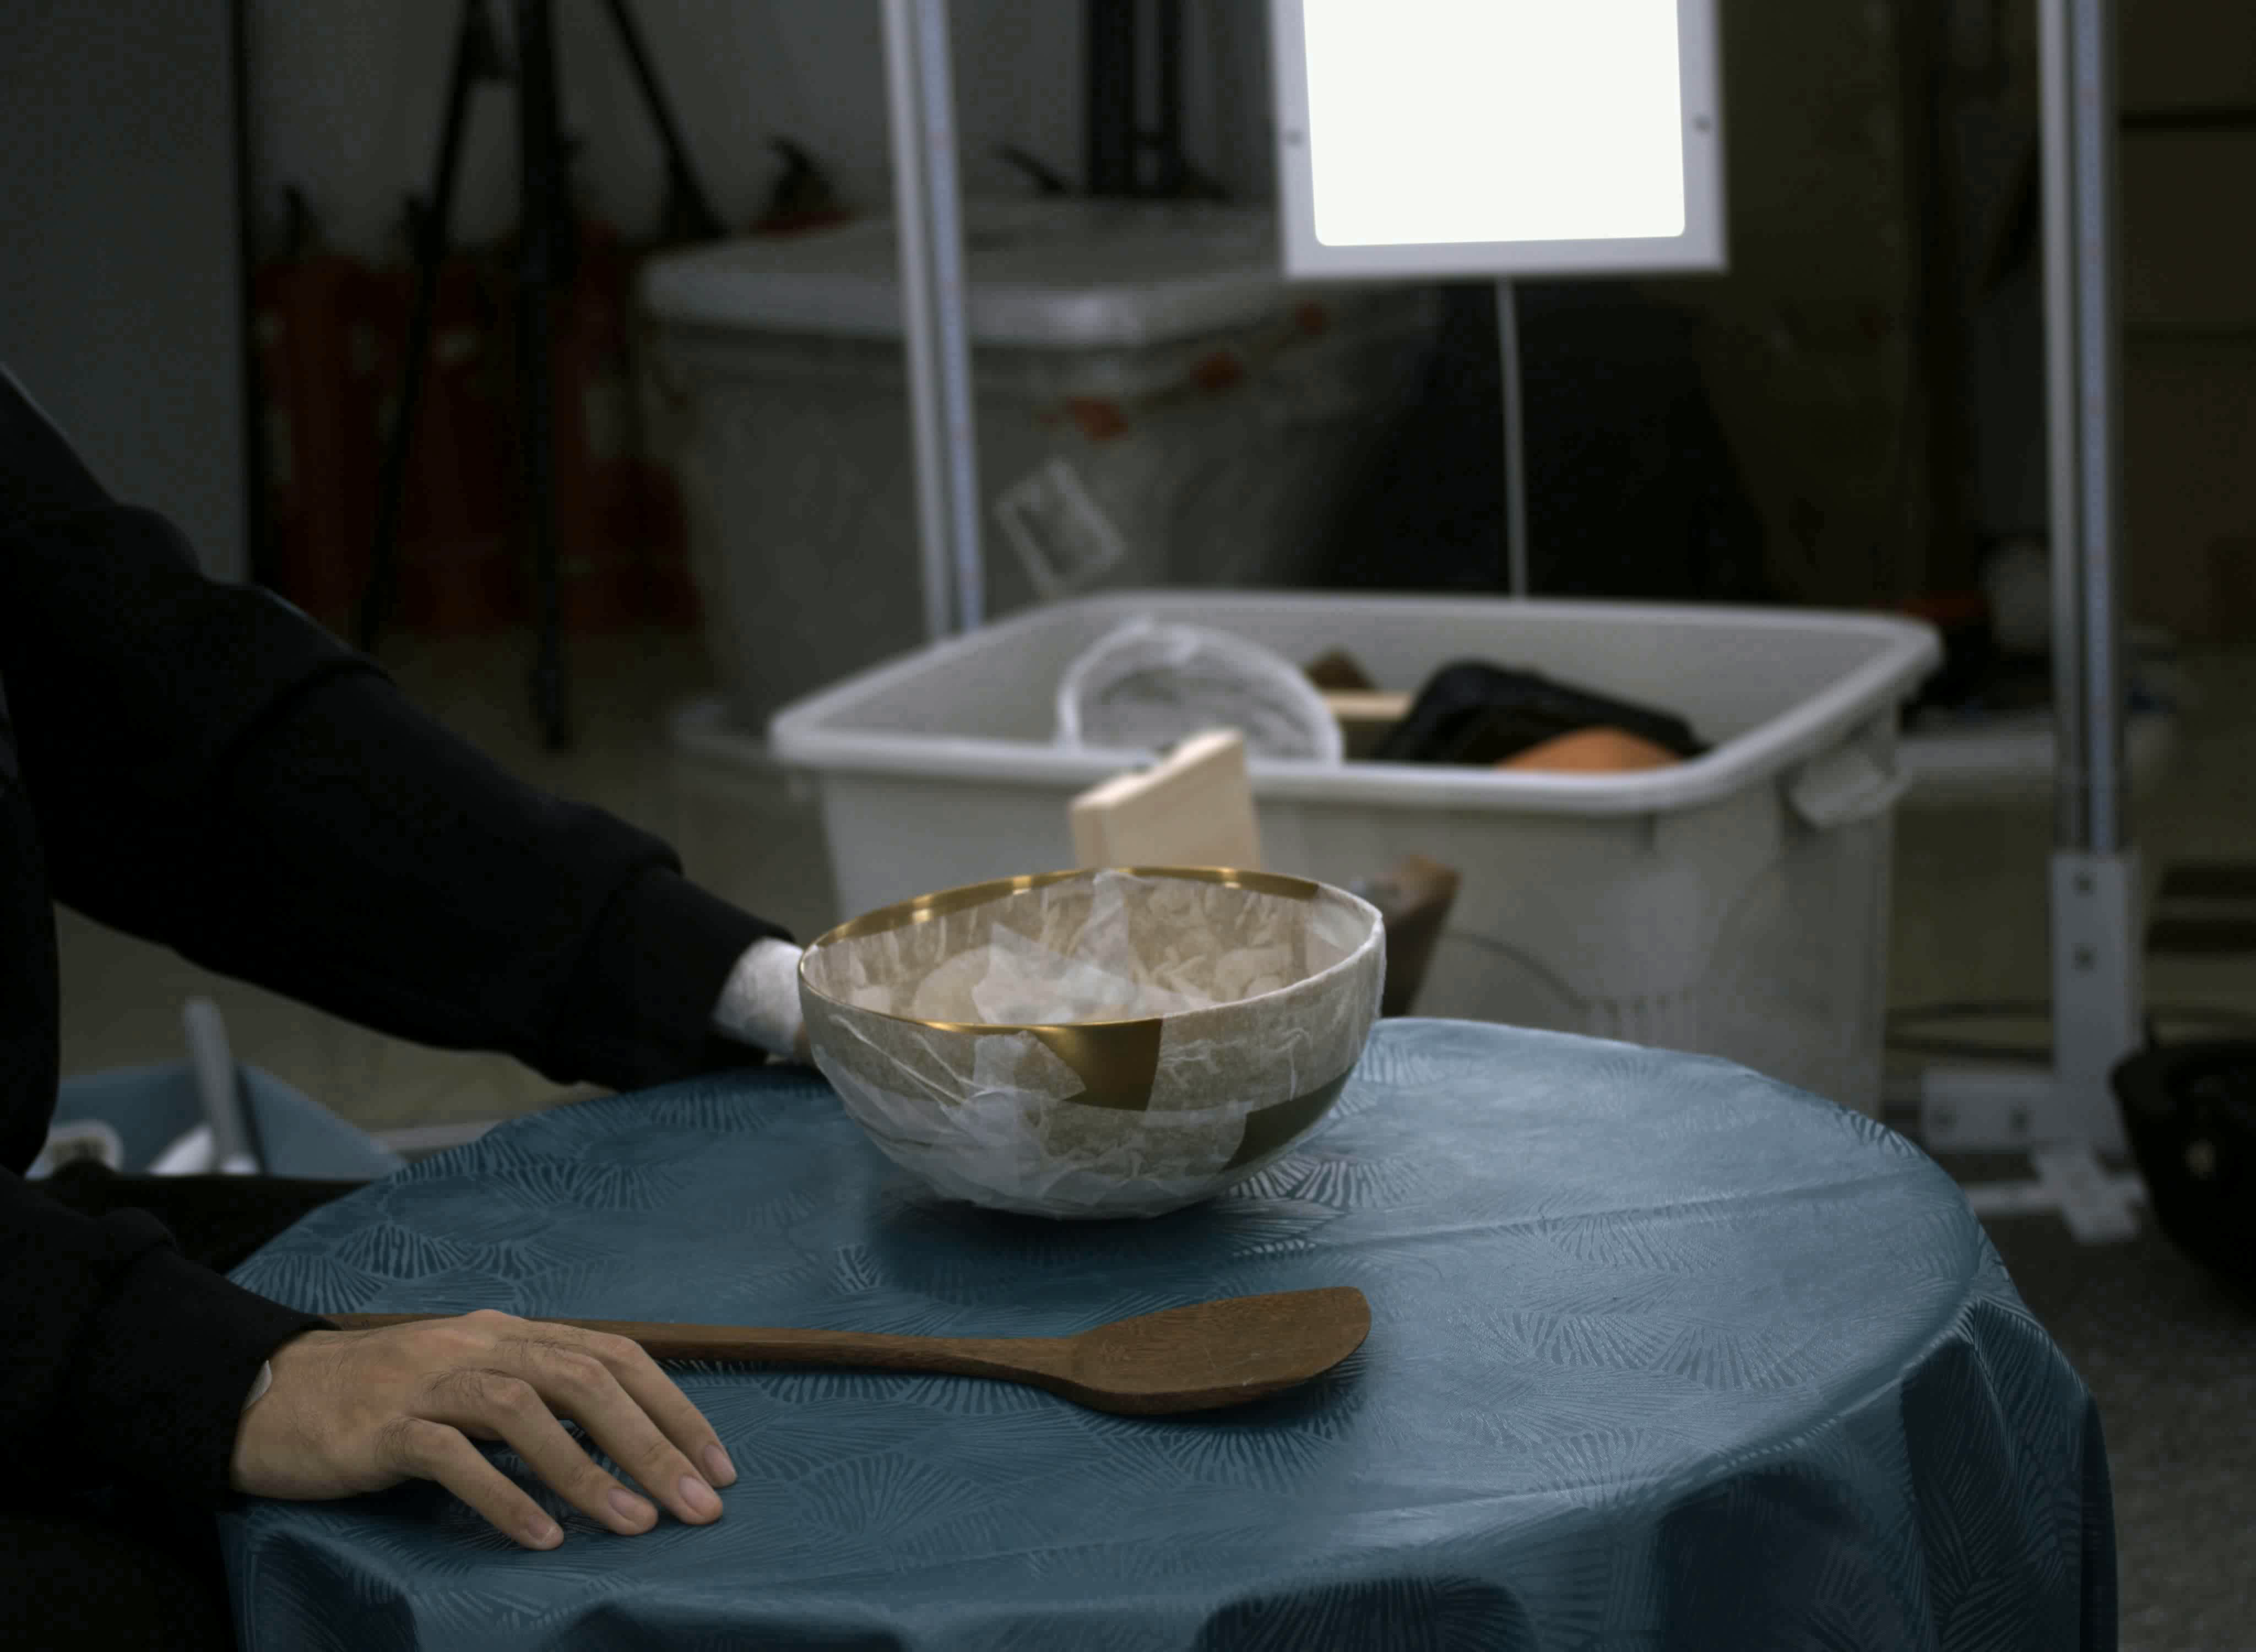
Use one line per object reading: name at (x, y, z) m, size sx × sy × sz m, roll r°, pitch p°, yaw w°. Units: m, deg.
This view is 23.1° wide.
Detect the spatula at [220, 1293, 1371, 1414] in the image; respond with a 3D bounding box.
spatula at (-0.112, 0.165, 1.752) m, size 0.390 × 0.016 × 0.094 m, roll -1°, pitch 14°, yaw 18°

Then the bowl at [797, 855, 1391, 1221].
bowl at (-0.011, 0.080, 1.892) m, size 0.214 × 0.095 × 0.214 m, roll -6°, pitch 15°, yaw 0°
